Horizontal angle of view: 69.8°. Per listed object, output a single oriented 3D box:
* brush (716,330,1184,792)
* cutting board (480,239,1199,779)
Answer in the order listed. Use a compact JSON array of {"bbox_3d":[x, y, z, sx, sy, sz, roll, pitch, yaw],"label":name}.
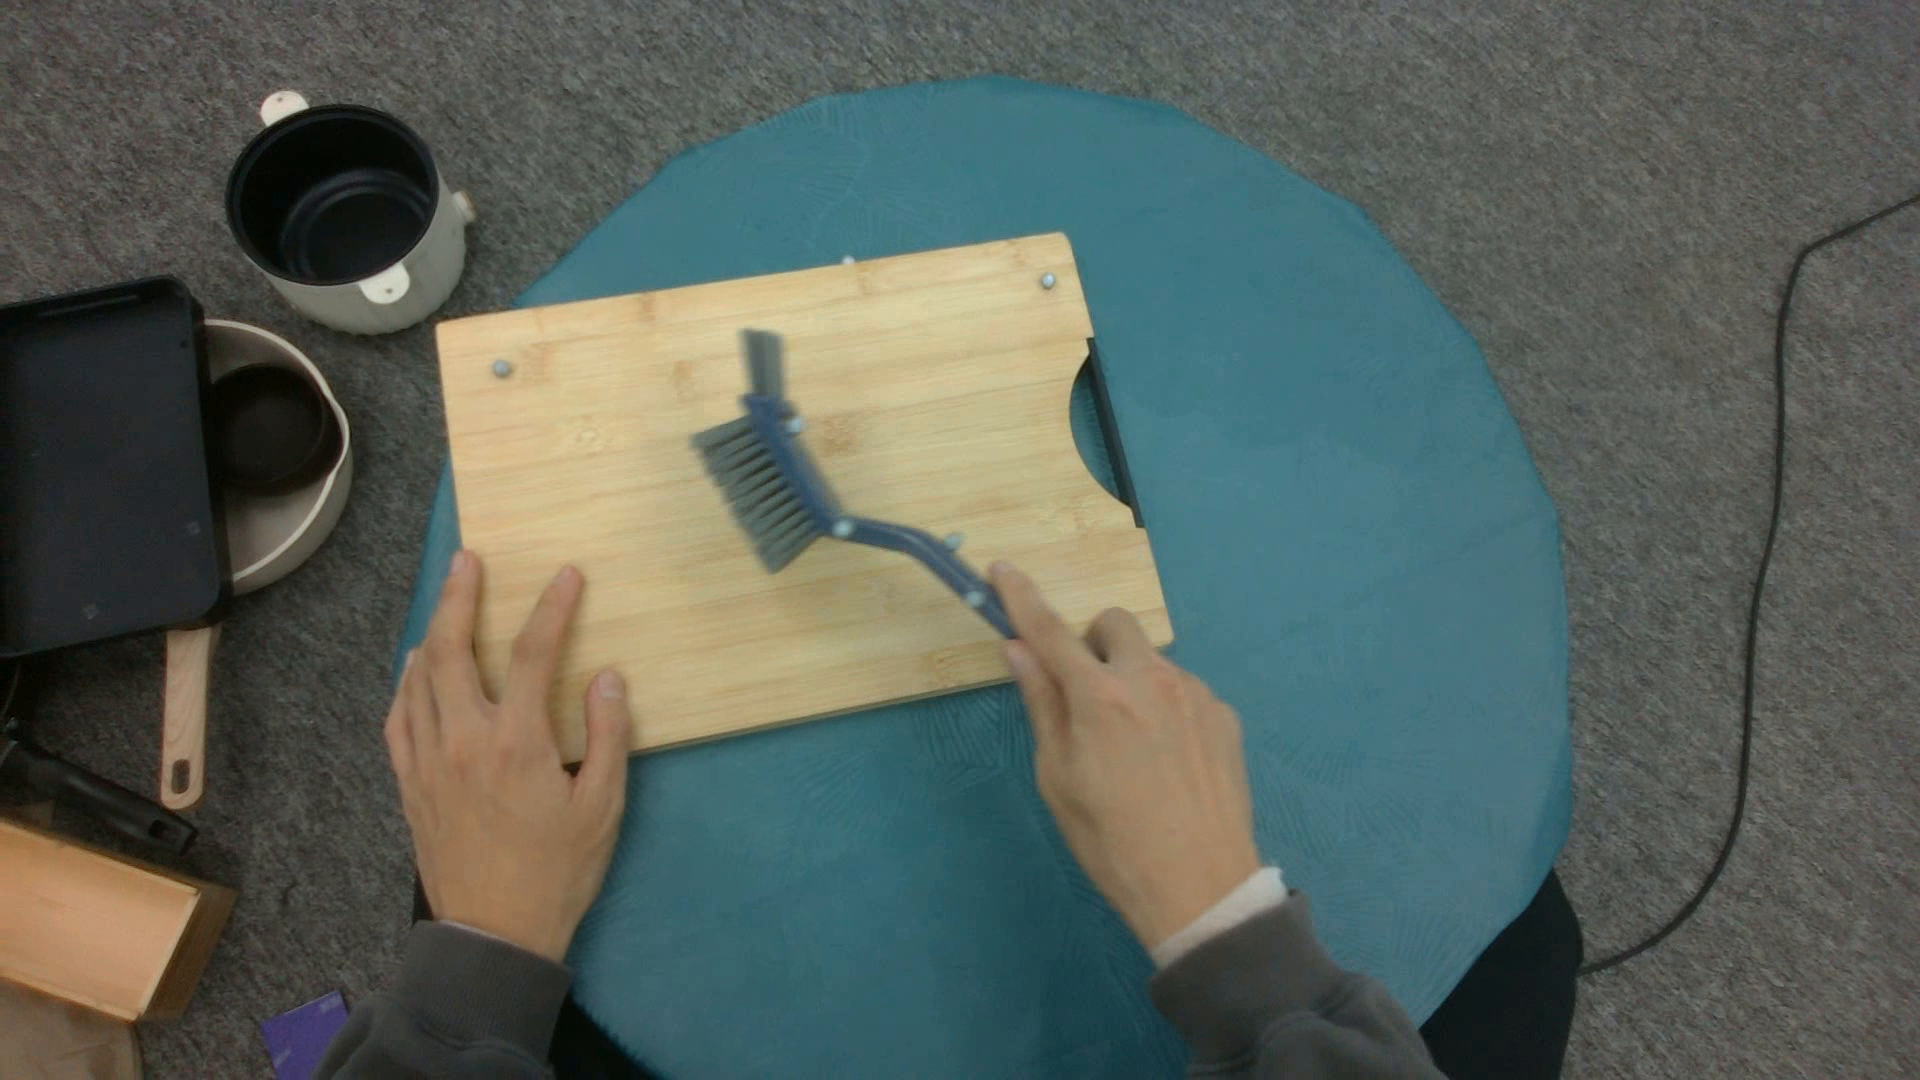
[{"bbox_3d":[0.003,0.012,0.634,0.273,0.033,0.095,33,95,7],"label":"brush"},{"bbox_3d":[-0.070,-0.025,0.731,0.349,0.023,0.251,-11,74,-8],"label":"cutting board"}]
